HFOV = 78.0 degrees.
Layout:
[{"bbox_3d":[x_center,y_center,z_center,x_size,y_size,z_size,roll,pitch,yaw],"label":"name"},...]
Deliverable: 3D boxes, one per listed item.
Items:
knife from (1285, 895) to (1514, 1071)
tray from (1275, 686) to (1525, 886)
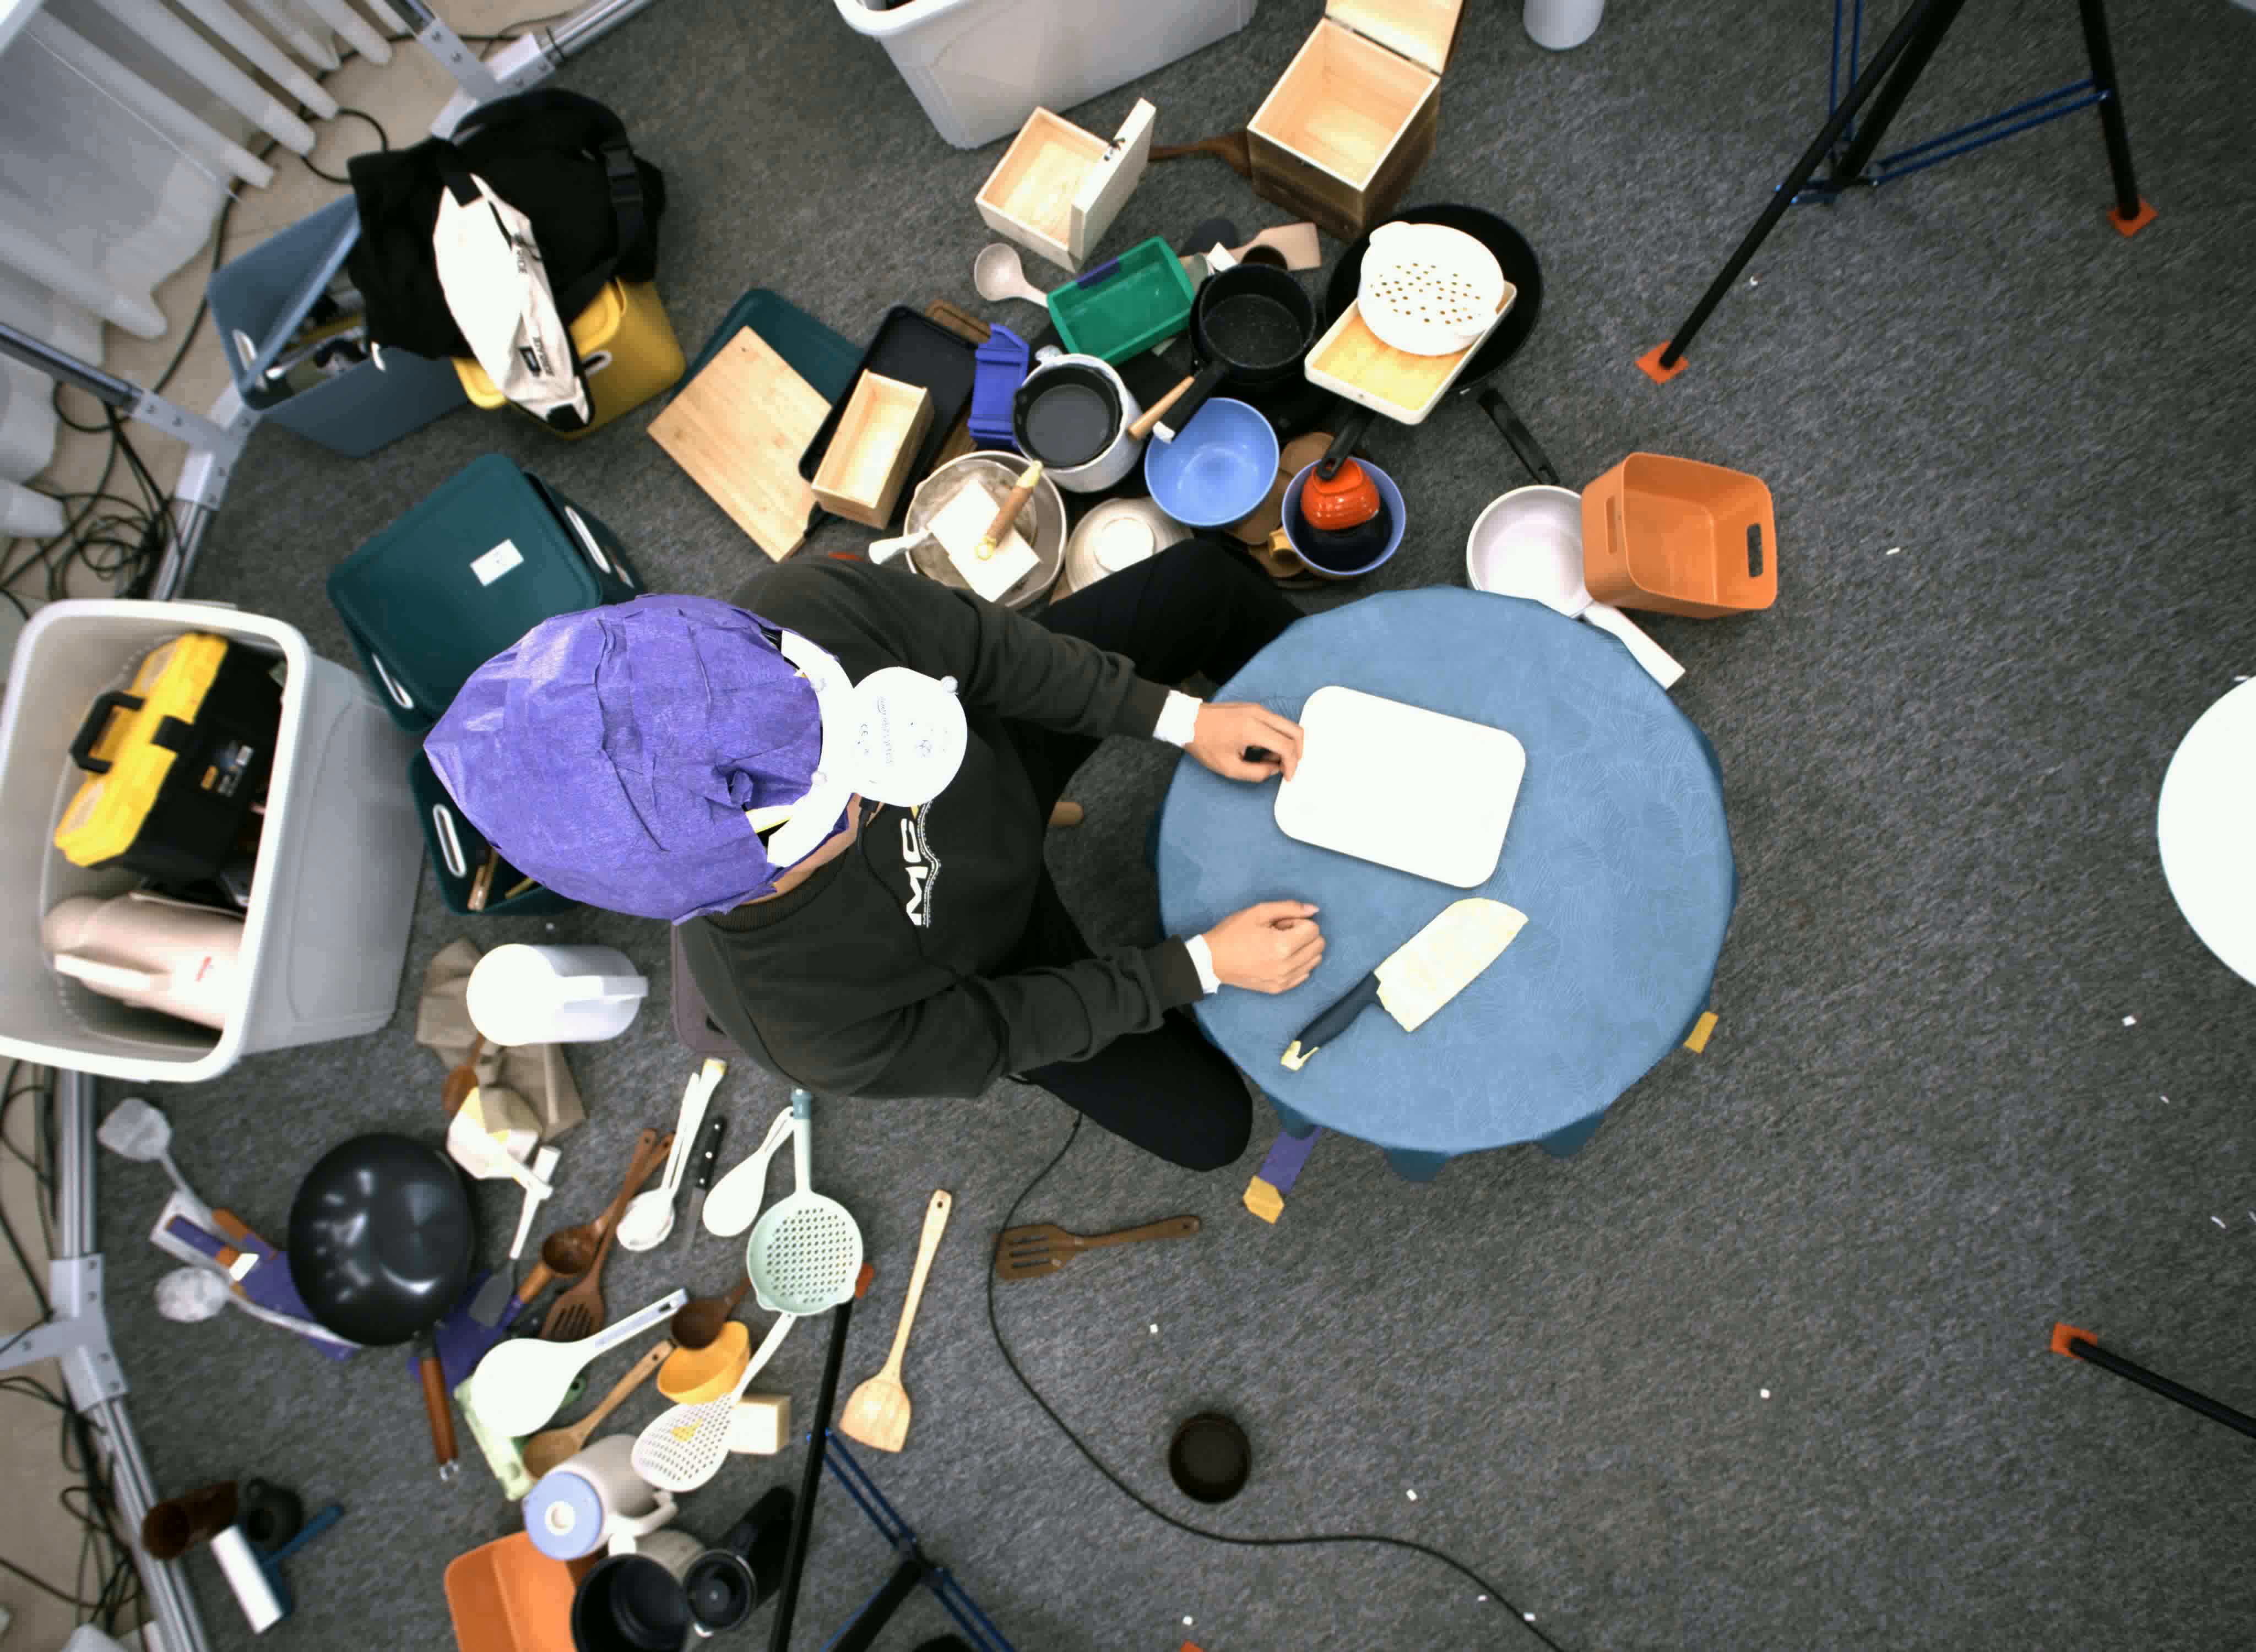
[{"bbox_3d":[0.287,0.170,1.444,0.291,0.027,0.080,-38,79,6],"label":"knife"},{"bbox_3d":[0.286,-0.044,1.454,0.240,0.017,0.171,17,90,11],"label":"tray"}]
